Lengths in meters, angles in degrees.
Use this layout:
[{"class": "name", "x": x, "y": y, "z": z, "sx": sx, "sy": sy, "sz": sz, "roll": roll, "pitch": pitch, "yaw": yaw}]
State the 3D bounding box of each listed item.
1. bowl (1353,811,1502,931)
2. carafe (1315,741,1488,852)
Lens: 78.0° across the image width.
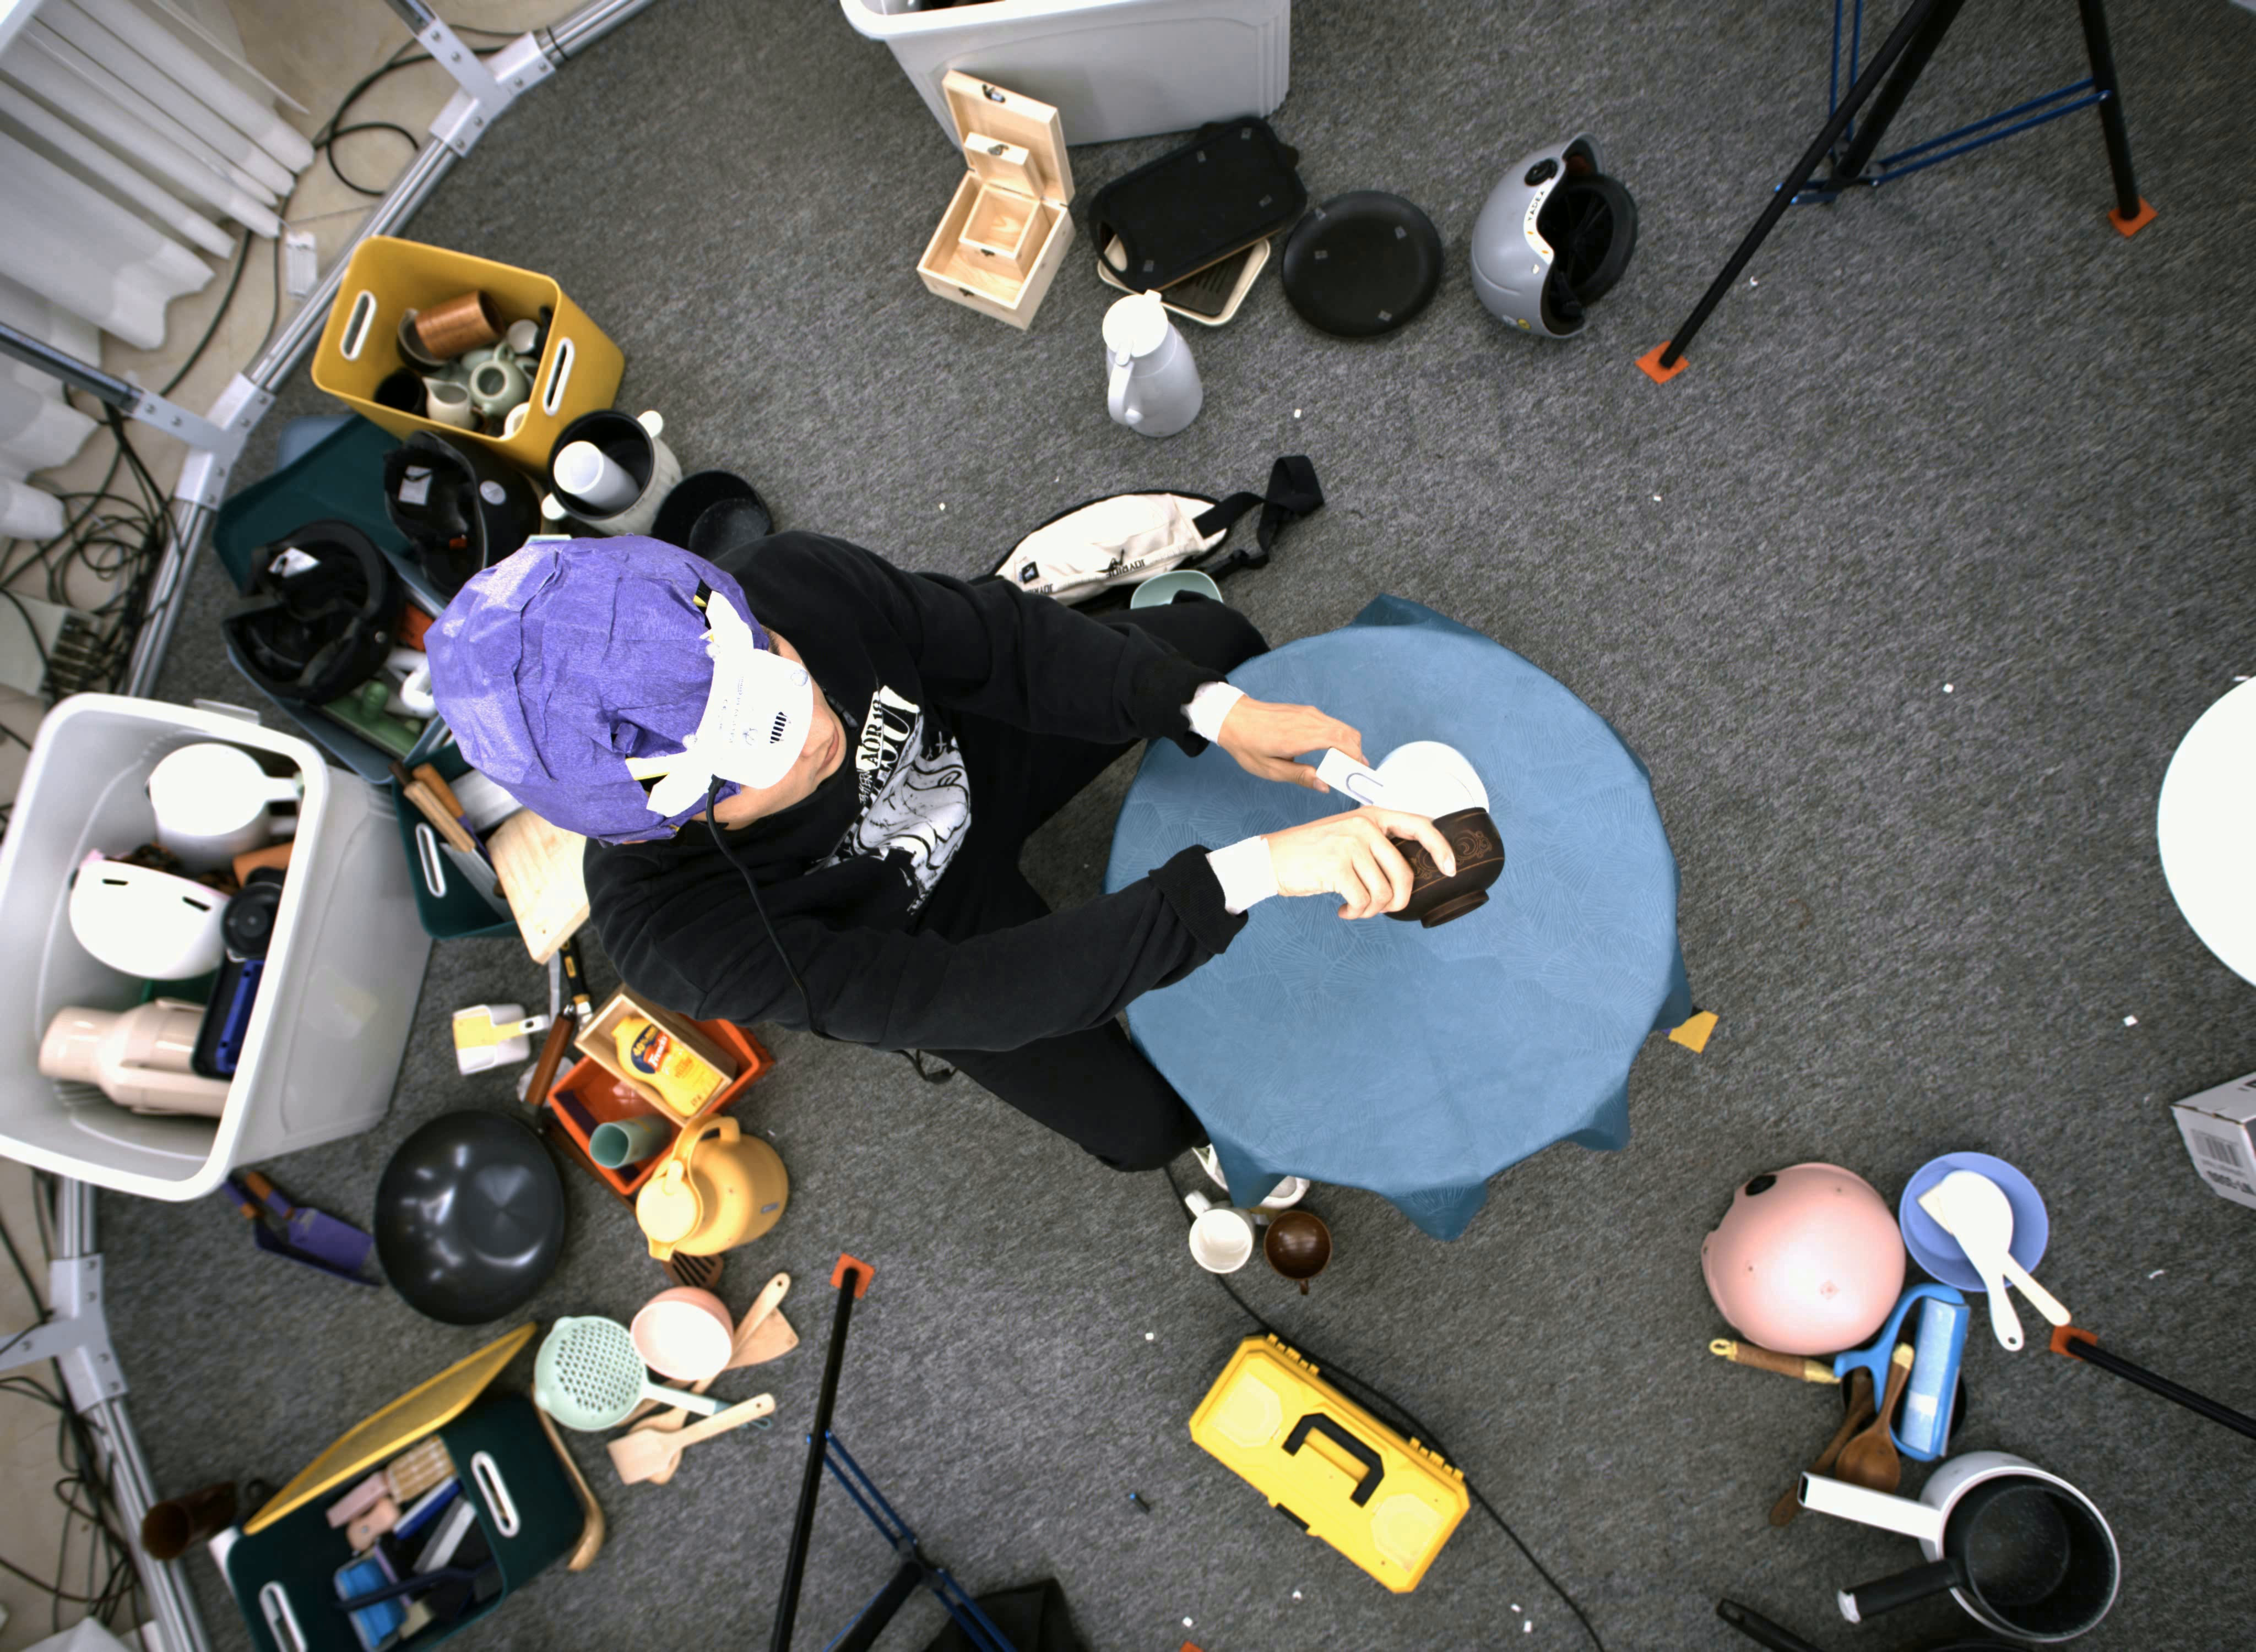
[{"class": "bowl", "x": 0.248, "y": 0.041, "z": 1.113, "sx": 0.118, "sy": 0.118, "sz": 0.069, "roll": -23, "pitch": 76, "yaw": 8}, {"class": "carafe", "x": 0.267, "y": -0.026, "z": 1.324, "sx": 0.172, "sy": 0.265, "sz": 0.125, "roll": 28, "pitch": 104, "yaw": 8}]
